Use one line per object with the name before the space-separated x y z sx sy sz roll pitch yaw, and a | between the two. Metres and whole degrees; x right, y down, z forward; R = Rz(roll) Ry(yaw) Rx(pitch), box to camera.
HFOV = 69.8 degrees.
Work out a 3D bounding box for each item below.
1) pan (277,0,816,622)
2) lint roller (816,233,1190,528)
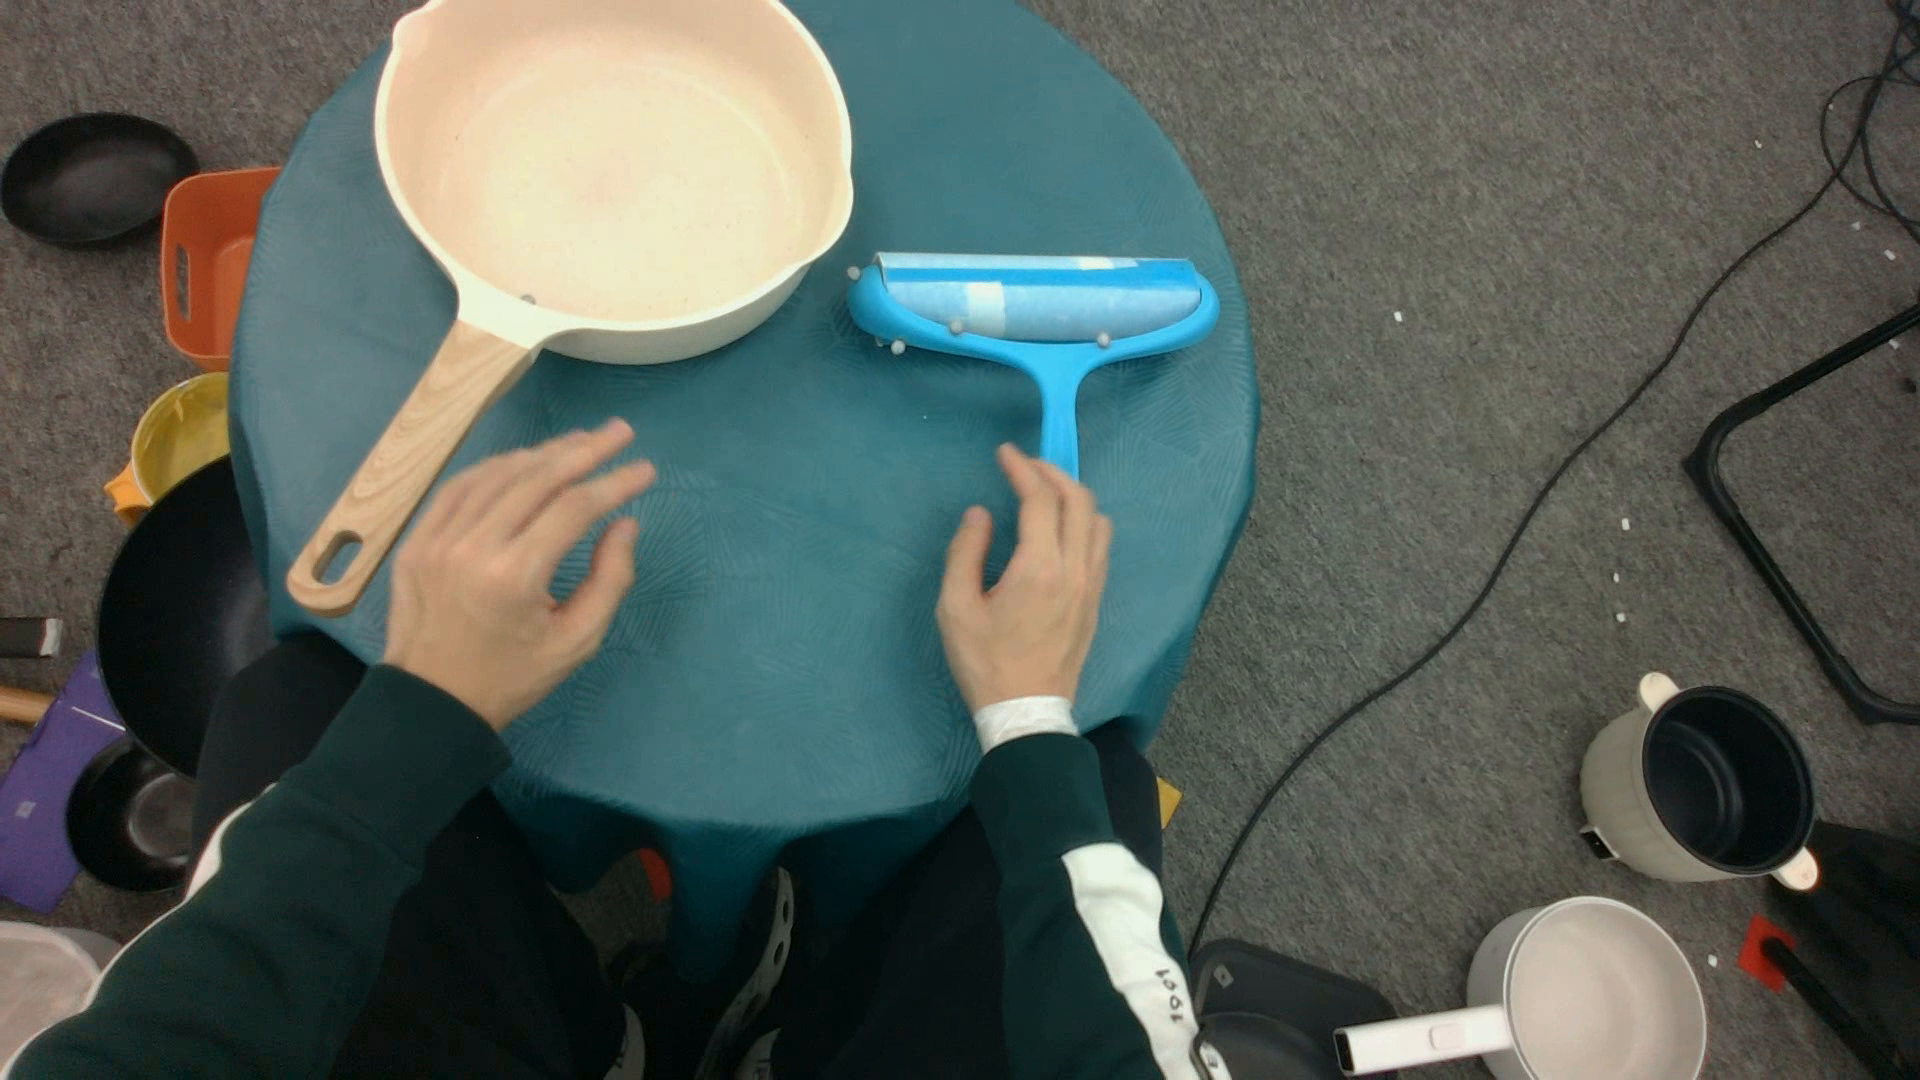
pan | -0.241 -0.144 0.741 0.263 0.101 0.436 22 68 -5
lint roller | 0.037 -0.102 0.811 0.229 0.067 0.180 -5 71 -15
